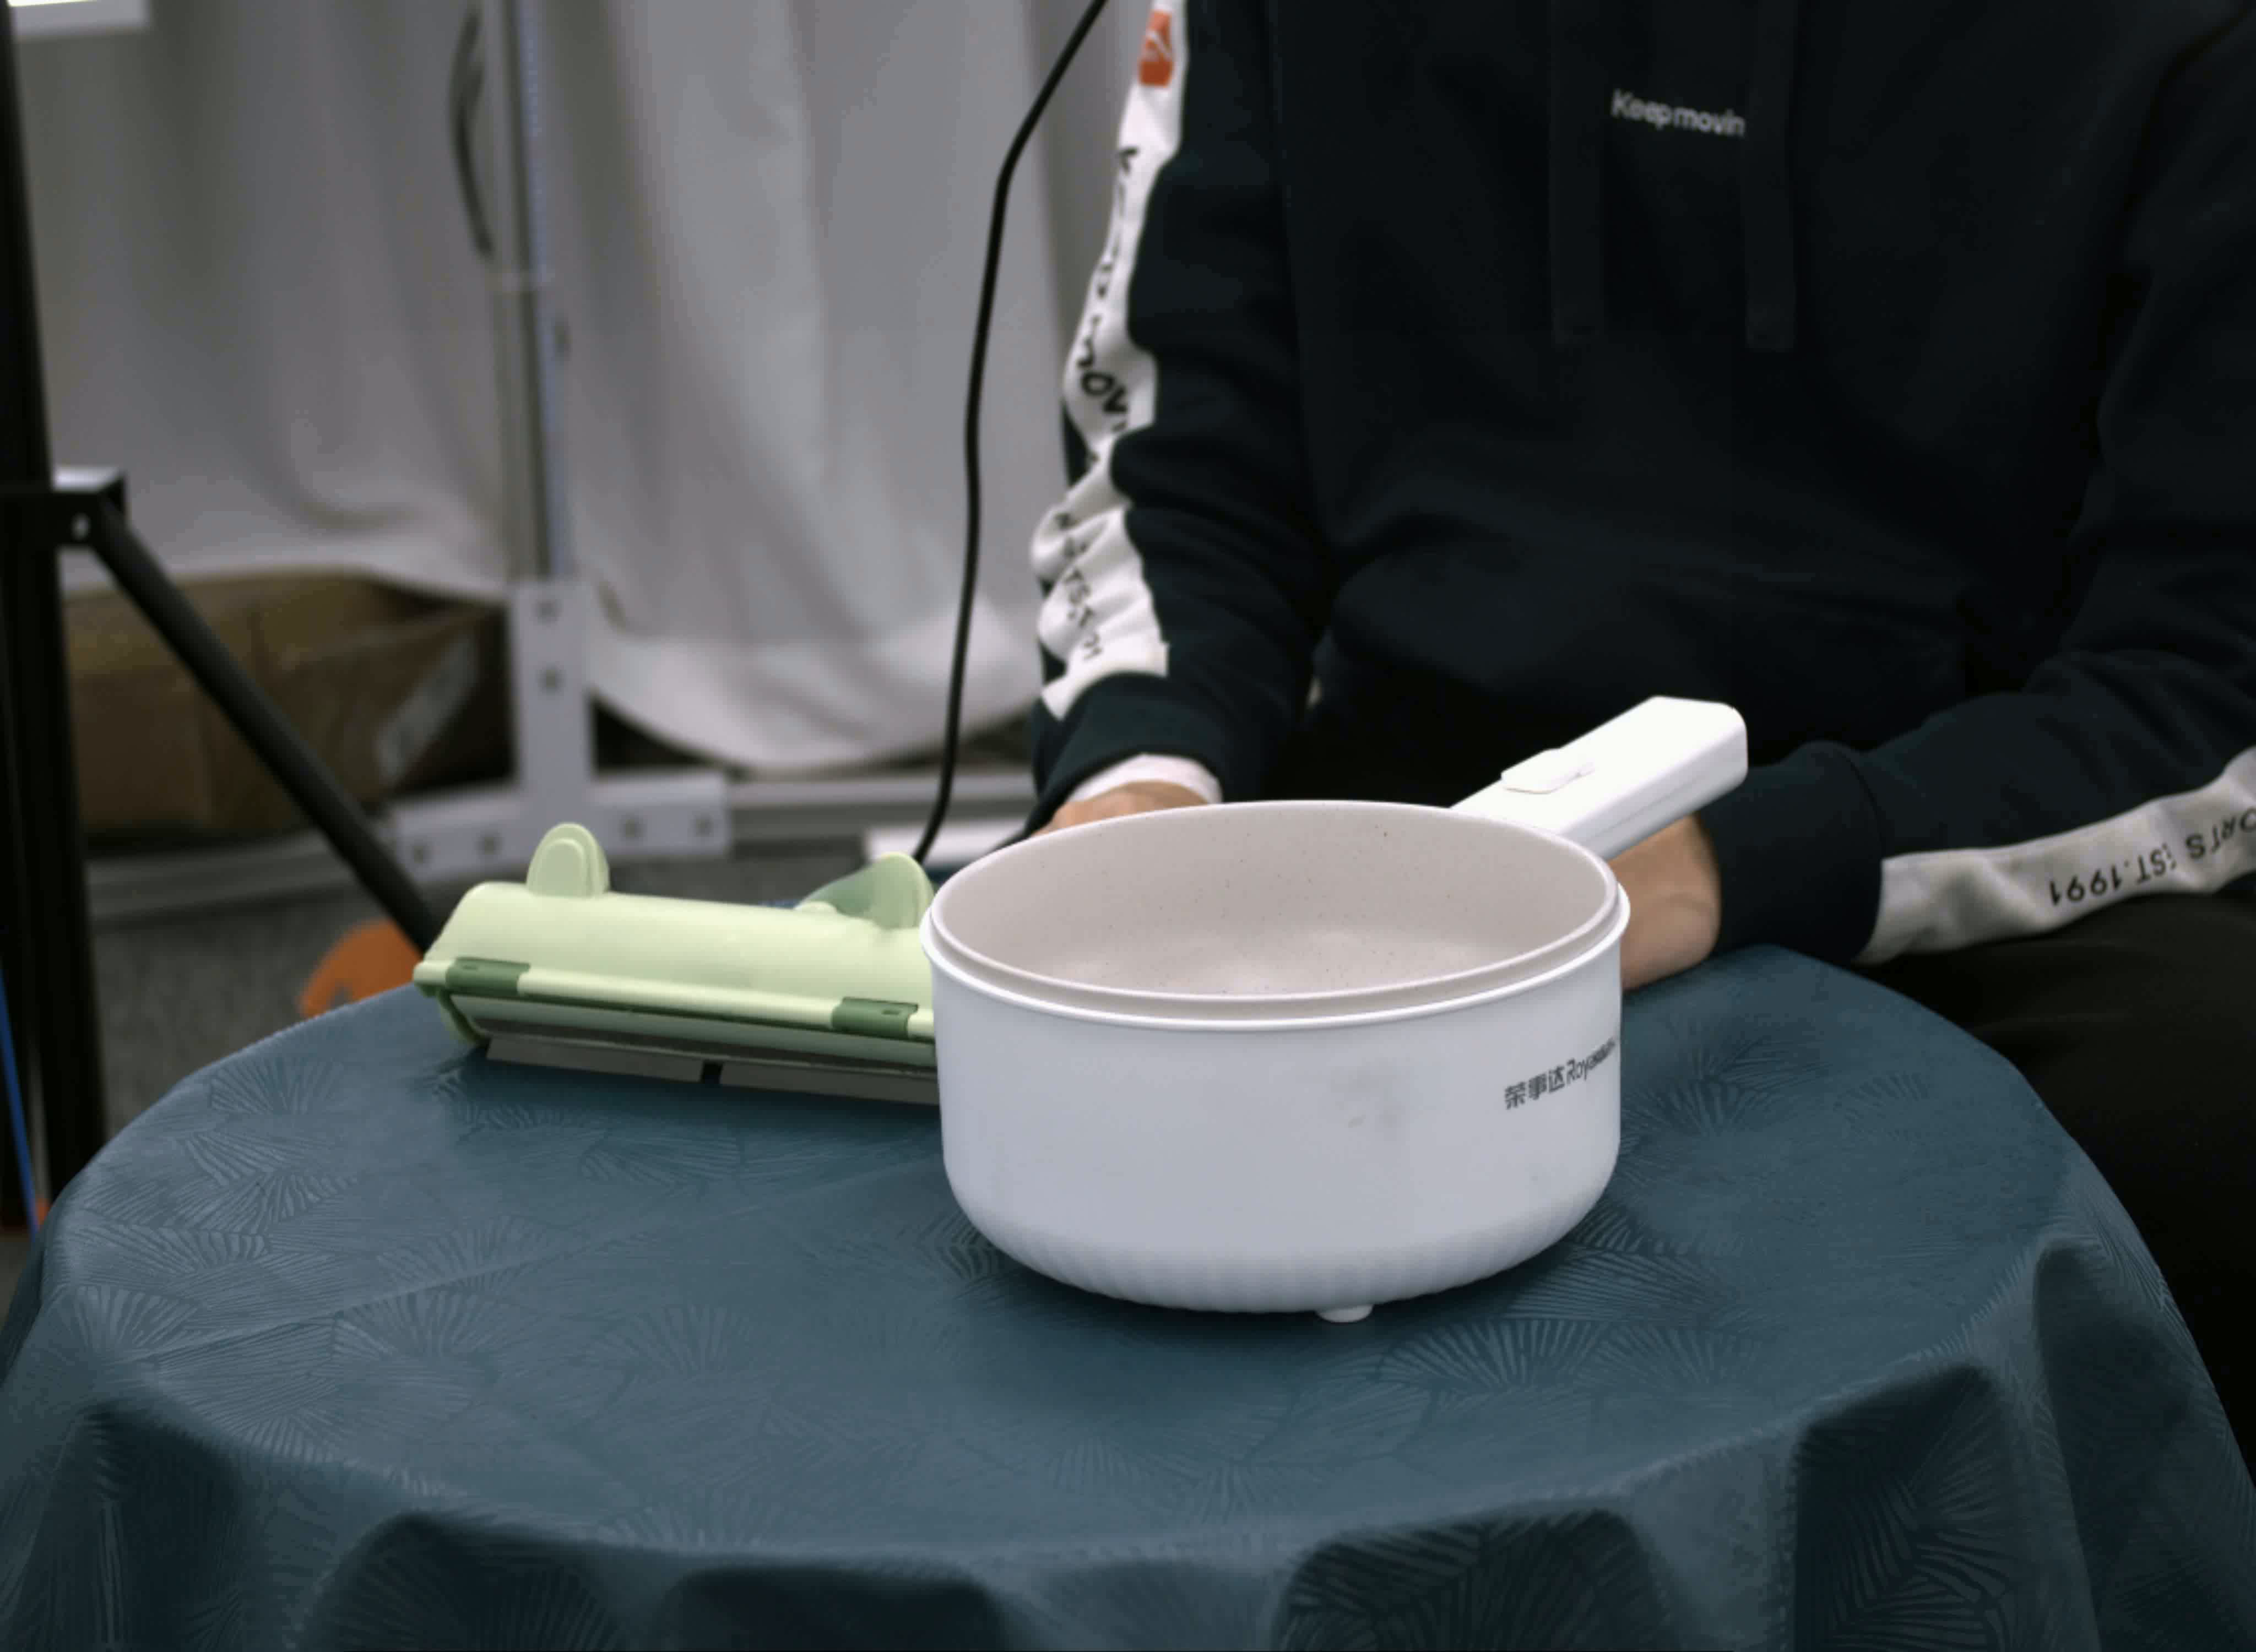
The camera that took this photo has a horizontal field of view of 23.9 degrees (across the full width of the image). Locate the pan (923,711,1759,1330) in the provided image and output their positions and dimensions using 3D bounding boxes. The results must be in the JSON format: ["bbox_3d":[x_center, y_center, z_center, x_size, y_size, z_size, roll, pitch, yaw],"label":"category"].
[{"bbox_3d":[0.086,0.052,1.567,0.205,0.102,0.347,7,17,34],"label":"pan"}]

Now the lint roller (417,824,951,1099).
[{"bbox_3d":[-0.105,0.025,1.727,0.201,0.082,0.181,4,23,25],"label":"lint roller"}]
